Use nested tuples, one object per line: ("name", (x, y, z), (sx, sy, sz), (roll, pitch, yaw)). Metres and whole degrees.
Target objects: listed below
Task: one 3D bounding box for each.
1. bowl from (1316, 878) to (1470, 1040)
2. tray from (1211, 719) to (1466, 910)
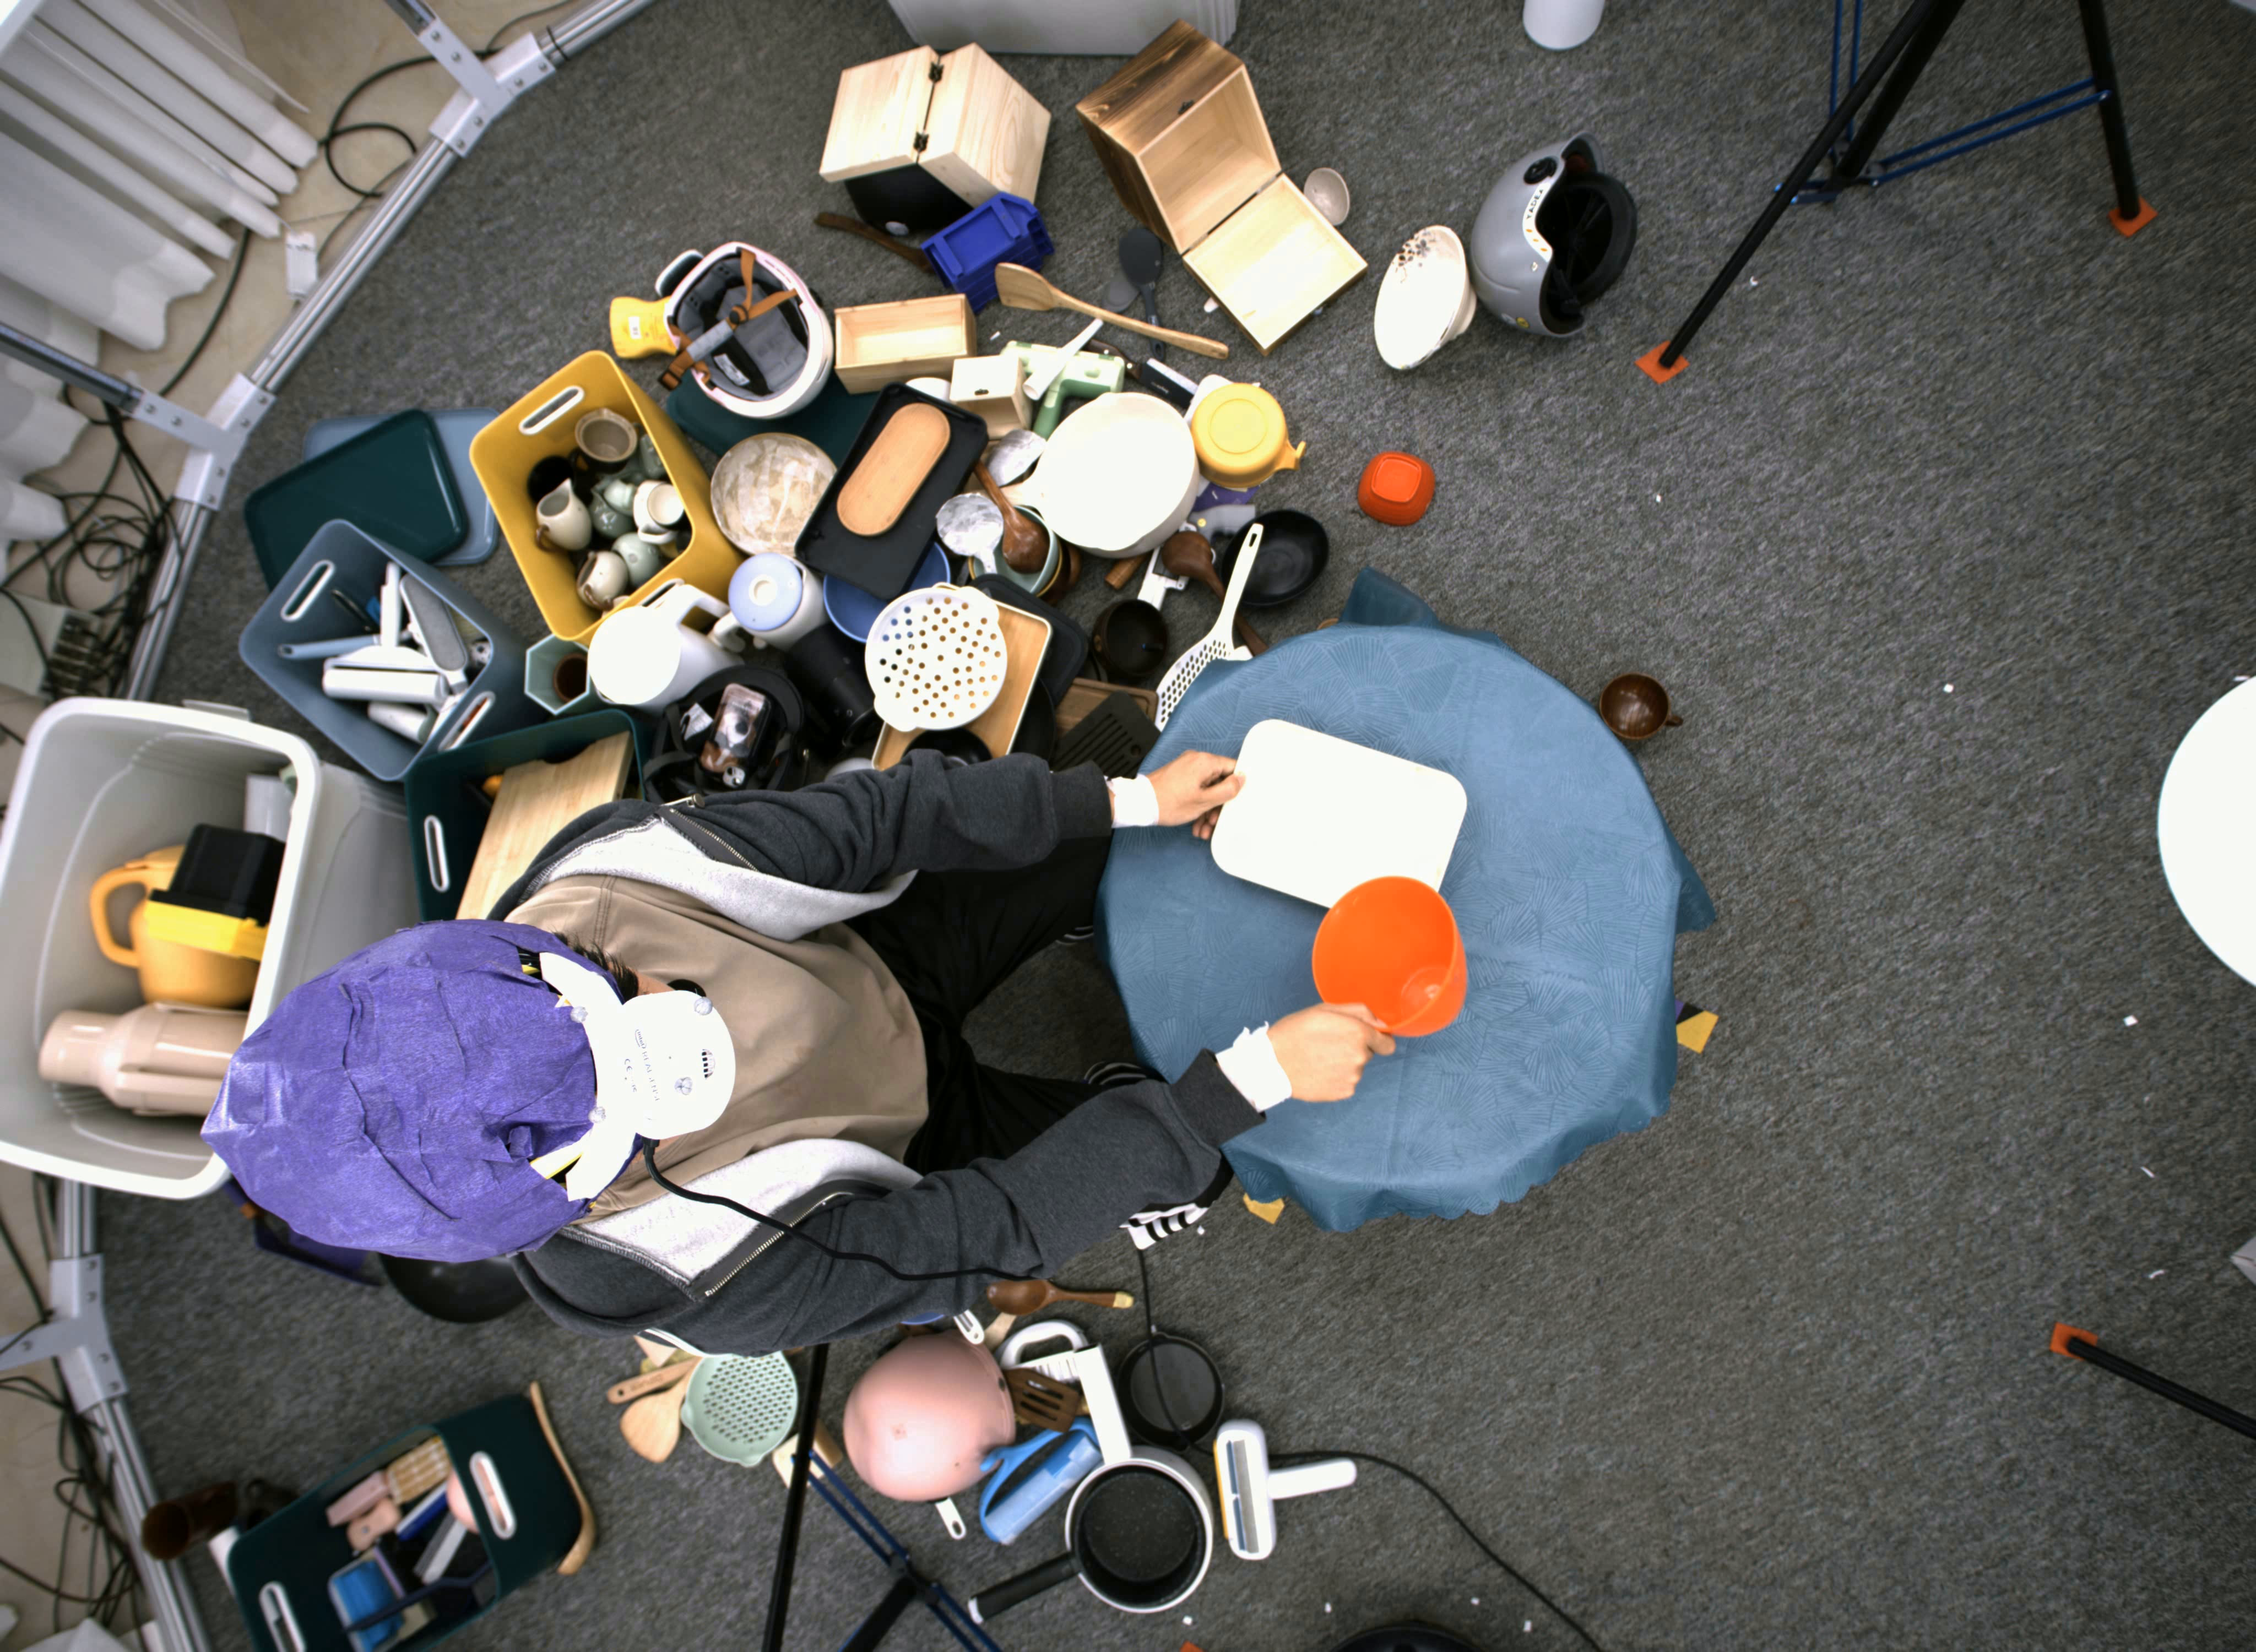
("bowl", (0.263, 0.136, 1.301), (0.150, 0.106, 0.144), (-25, 46, 29))
("tray", (0.217, -0.003, 1.436), (0.240, 0.017, 0.172), (19, 95, 9))
